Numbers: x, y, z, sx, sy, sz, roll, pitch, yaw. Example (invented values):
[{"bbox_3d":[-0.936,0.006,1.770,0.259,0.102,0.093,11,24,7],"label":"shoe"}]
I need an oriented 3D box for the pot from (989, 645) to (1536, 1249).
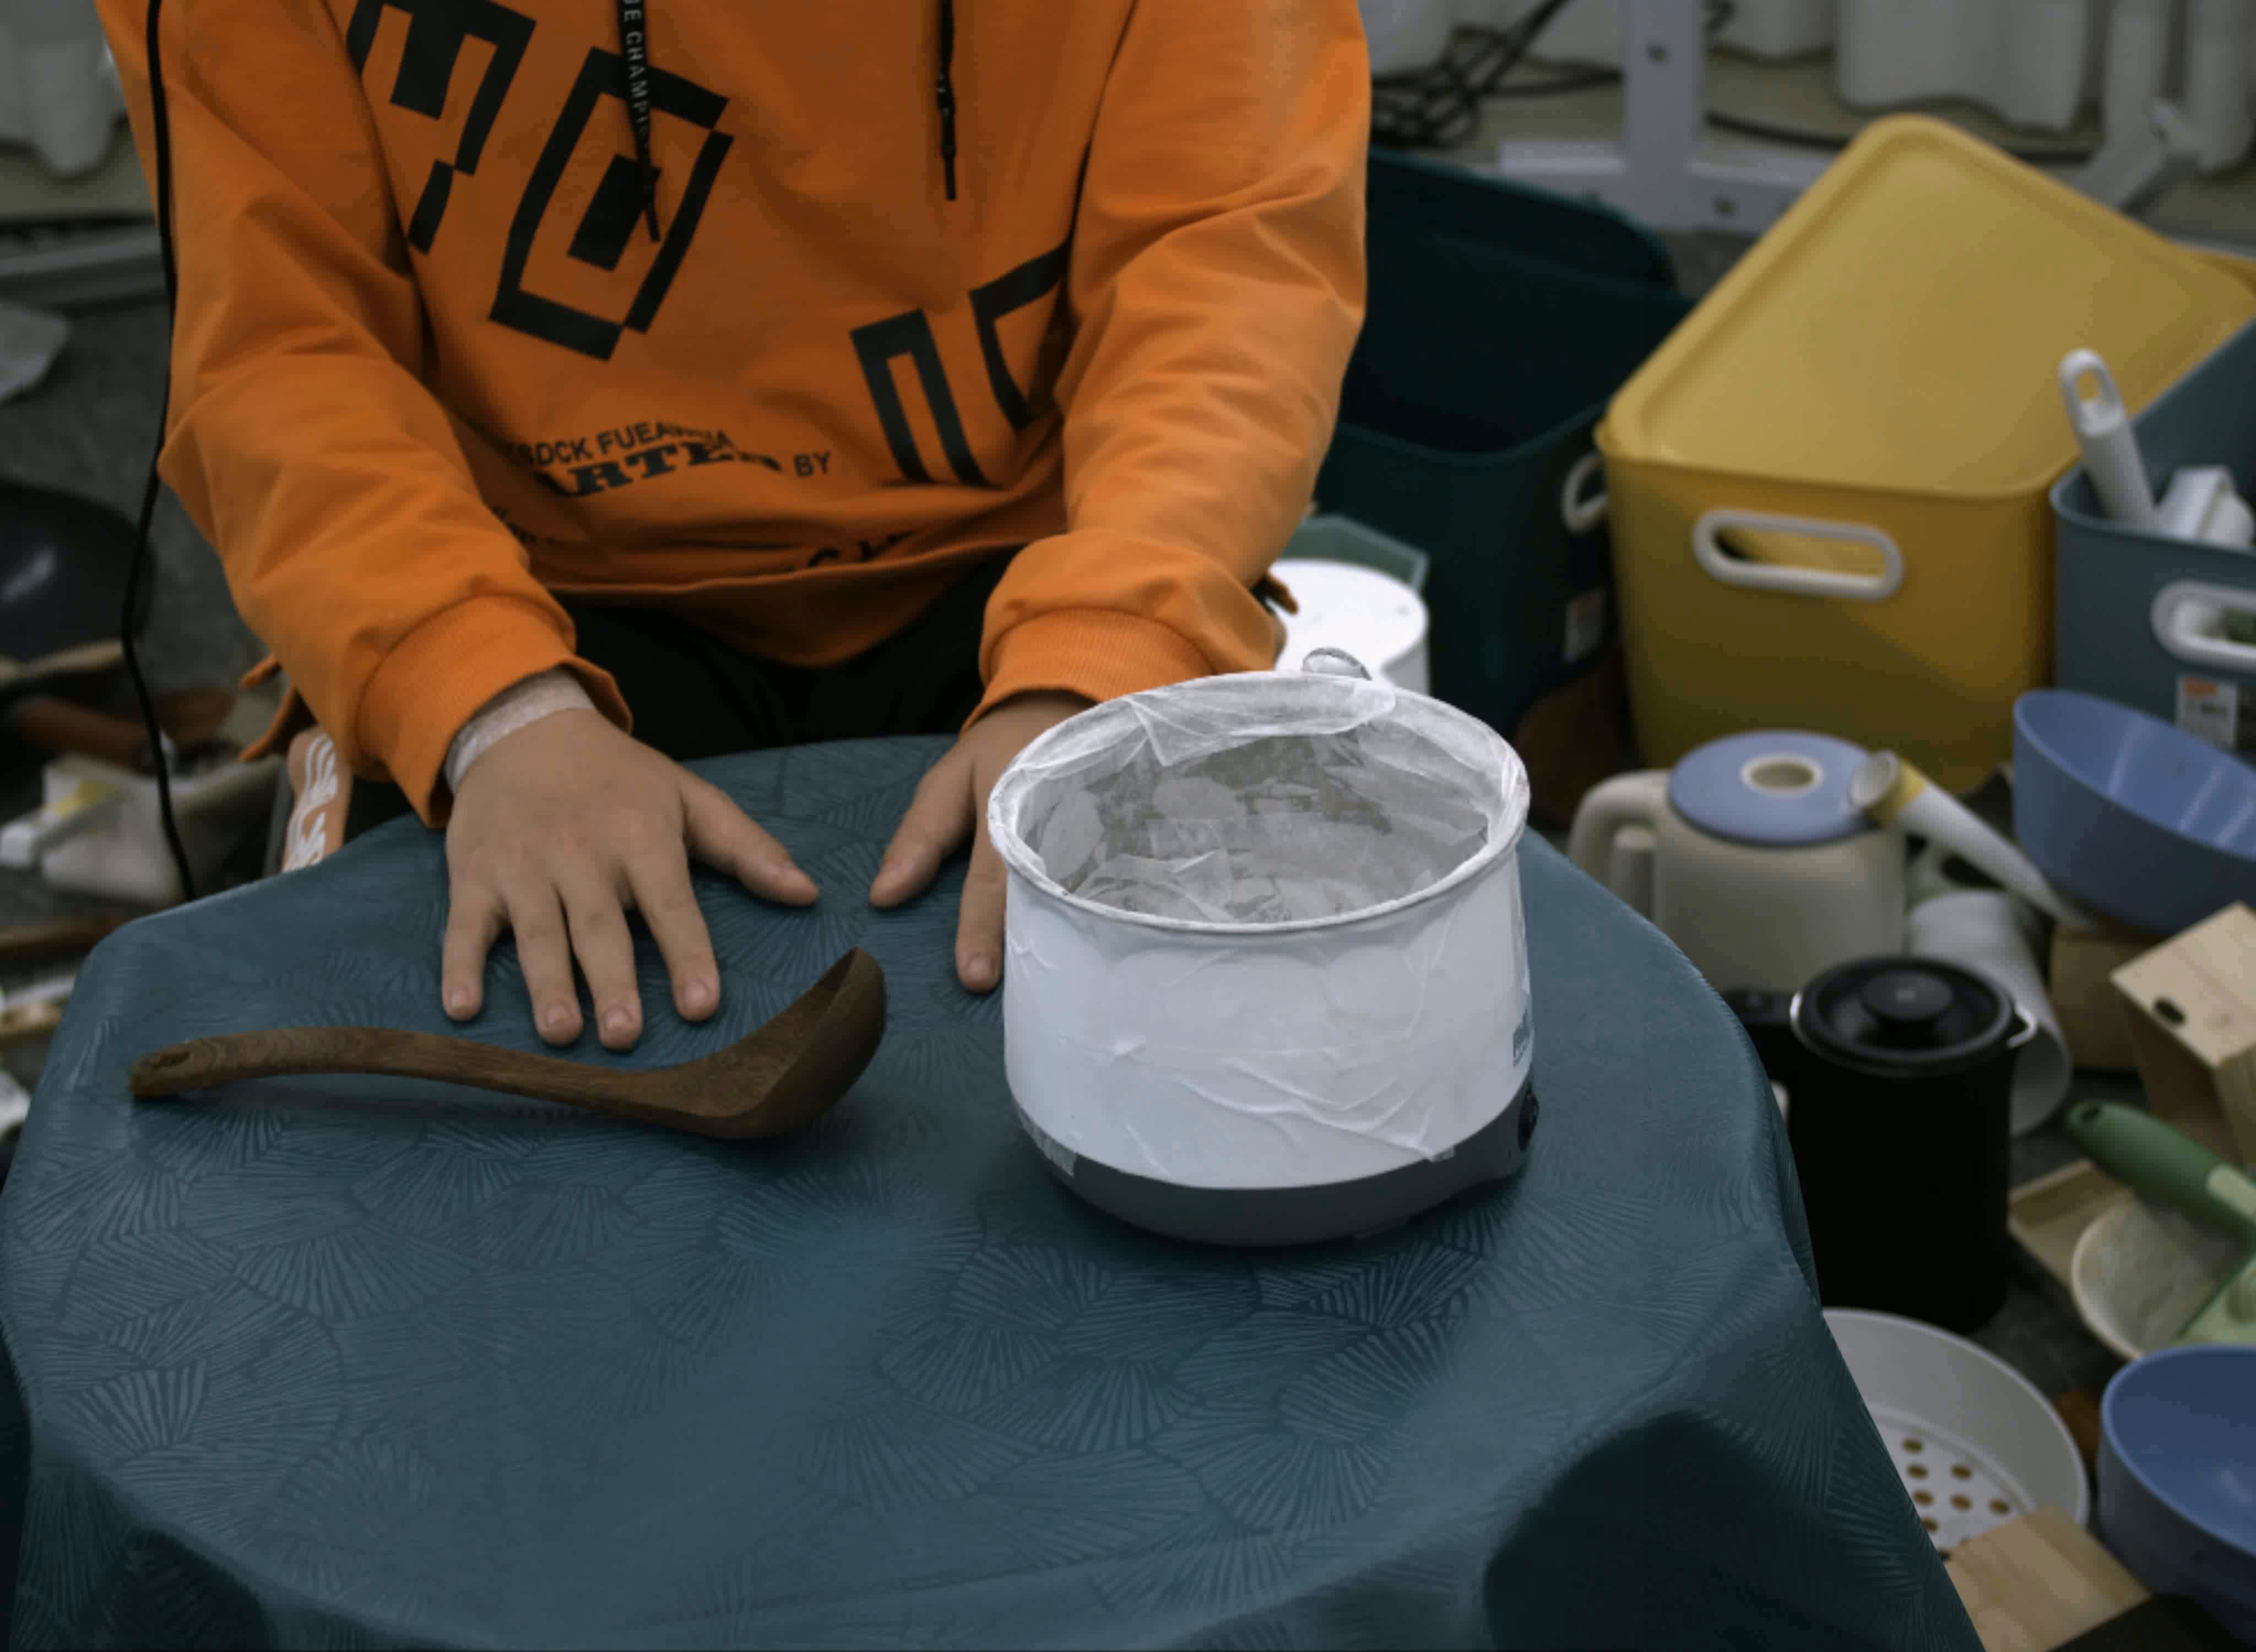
[{"bbox_3d":[0.052,0.033,1.881,0.177,0.135,0.238,4,28,13],"label":"pot"}]

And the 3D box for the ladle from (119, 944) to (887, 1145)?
[{"bbox_3d":[-0.215,0.068,1.911,0.272,0.070,0.077,4,24,11],"label":"ladle"}]
